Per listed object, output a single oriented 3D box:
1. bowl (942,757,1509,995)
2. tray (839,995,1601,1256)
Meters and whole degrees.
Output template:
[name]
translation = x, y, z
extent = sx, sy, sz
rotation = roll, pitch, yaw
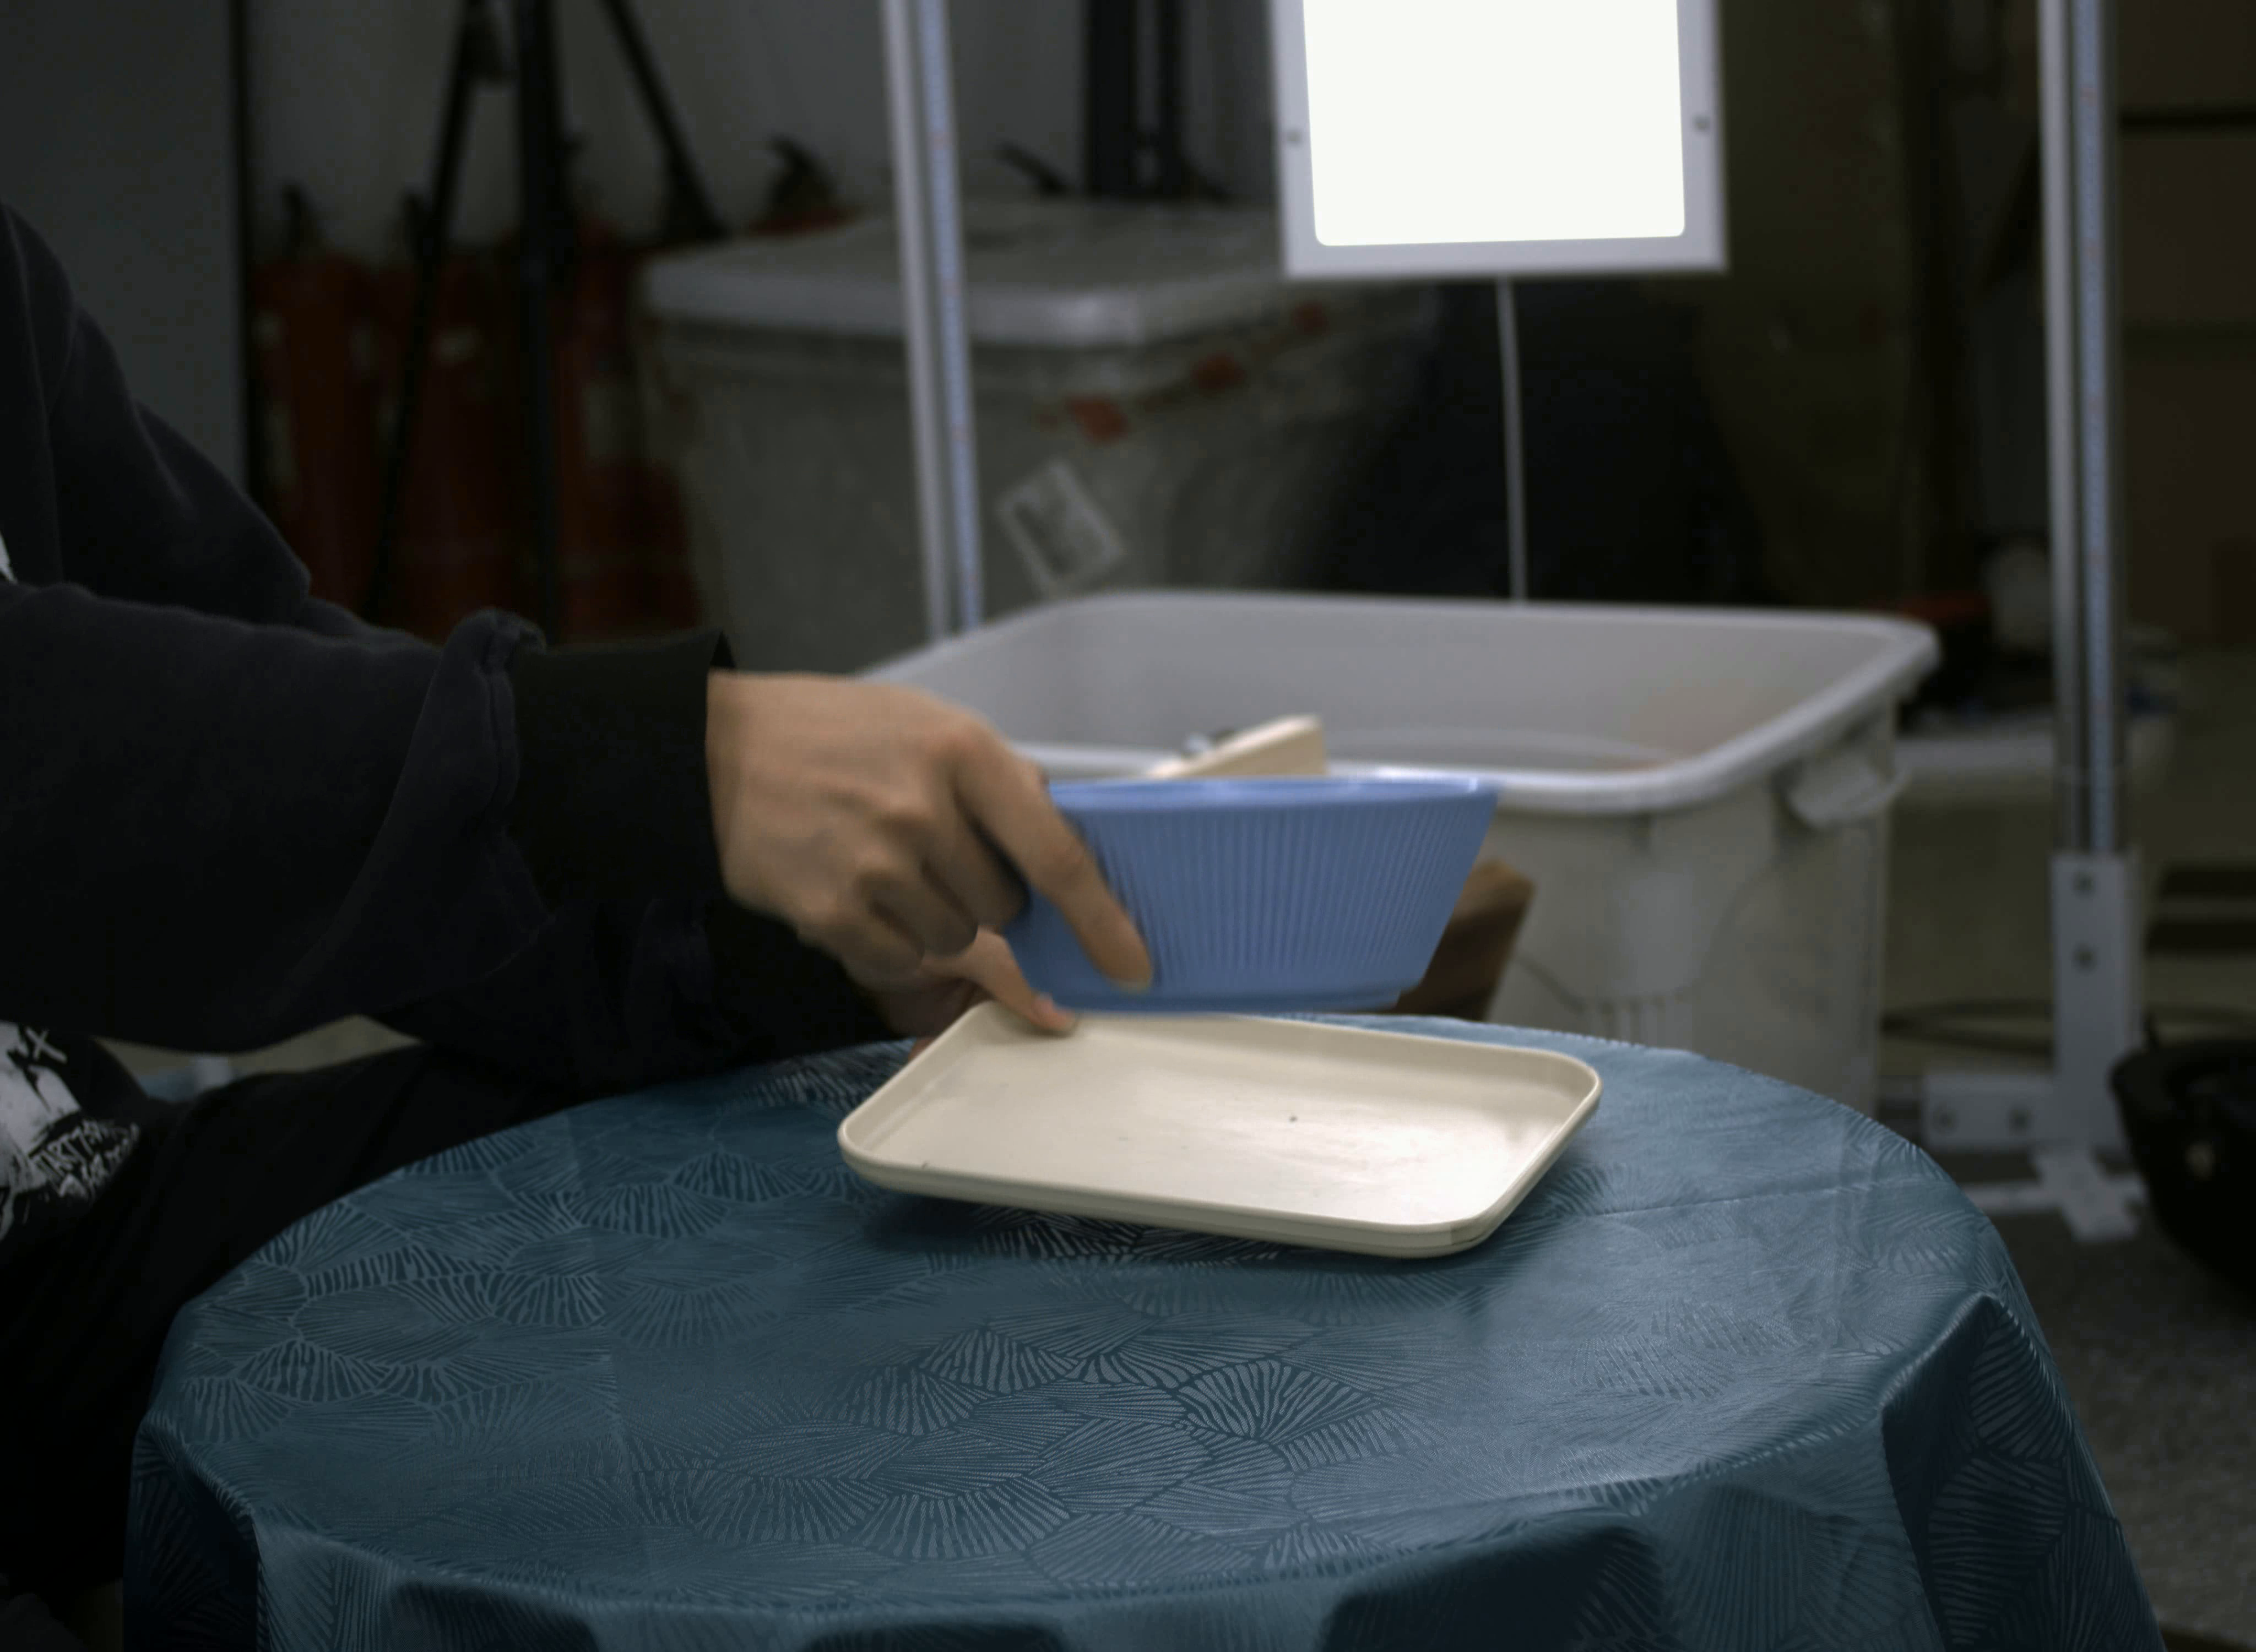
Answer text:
[bowl]
translation = 0.031, 0.015, 1.699
extent = 0.175, 0.070, 0.176
rotation = -1, 1, -1
[tray]
translation = 0.033, 0.103, 1.897
extent = 0.243, 0.017, 0.168
rotation = 6, 19, 22
